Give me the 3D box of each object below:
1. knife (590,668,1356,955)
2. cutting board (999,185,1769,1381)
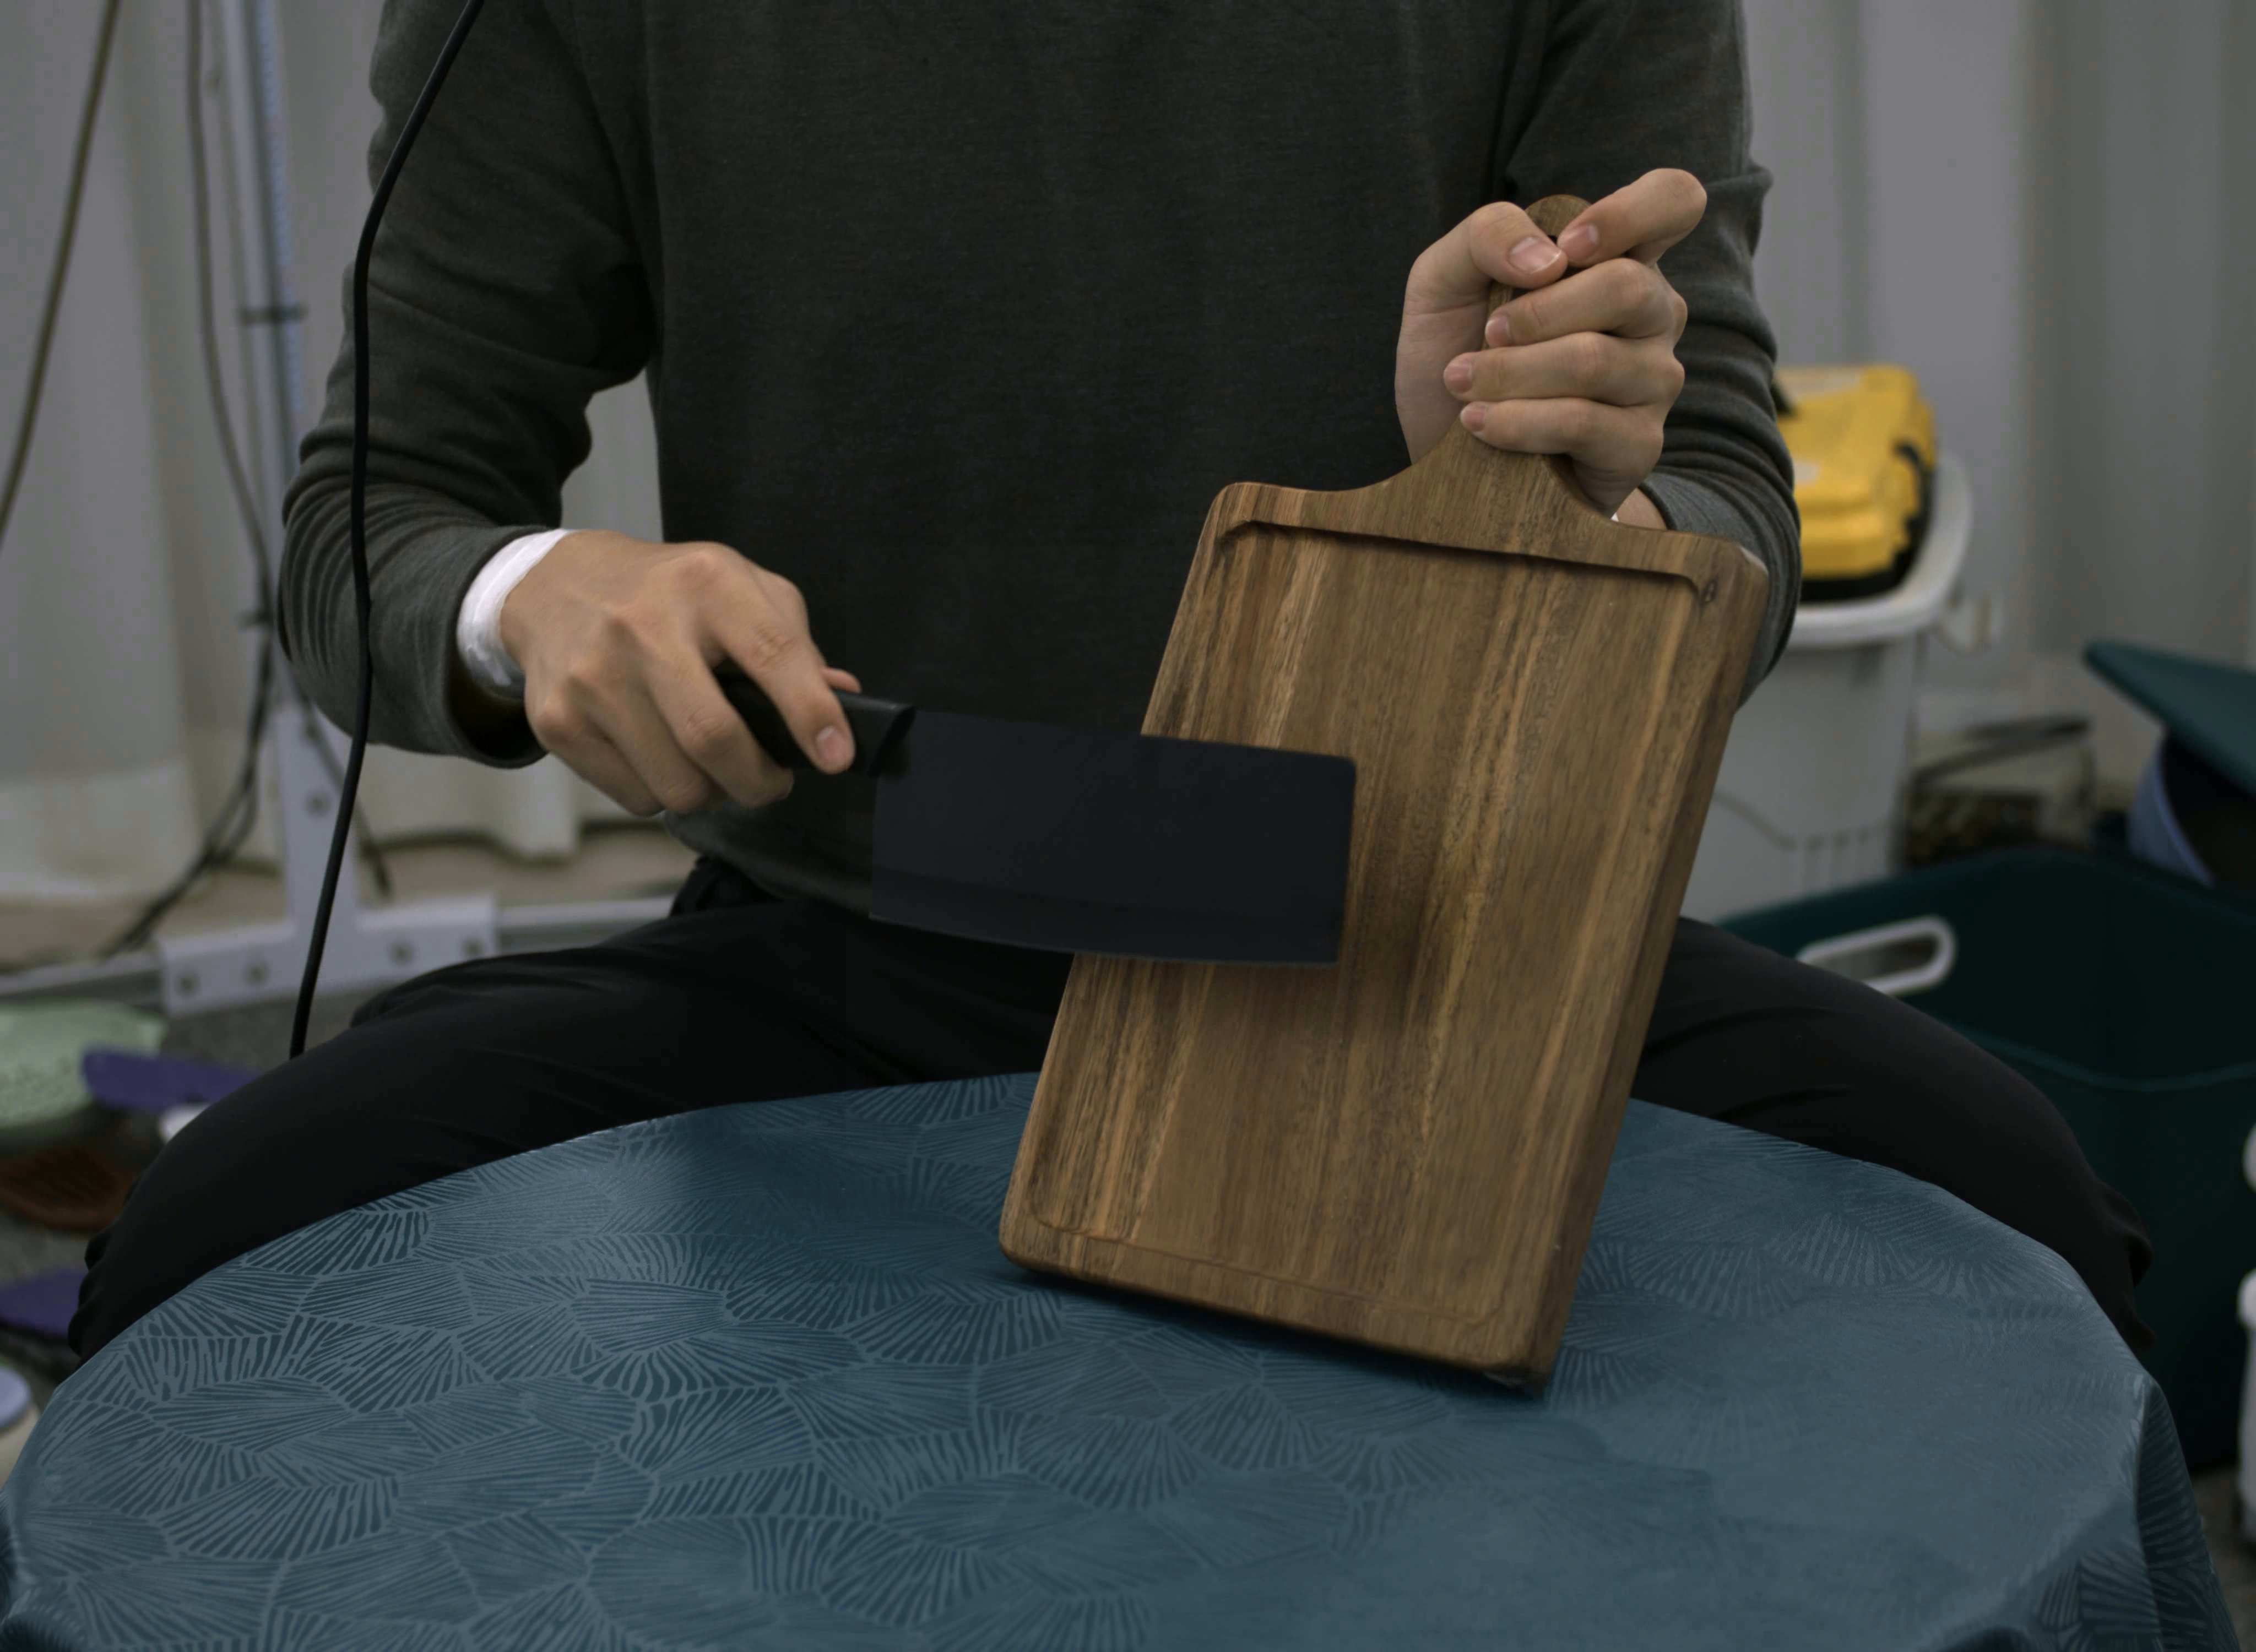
[{"bbox_3d":[-0.052,-0.008,1.651,0.304,0.081,0.021,12,4,39],"label":"knife"},{"bbox_3d":[0.086,-0.022,1.614,0.202,0.354,0.023,8,-13,38],"label":"cutting board"}]
